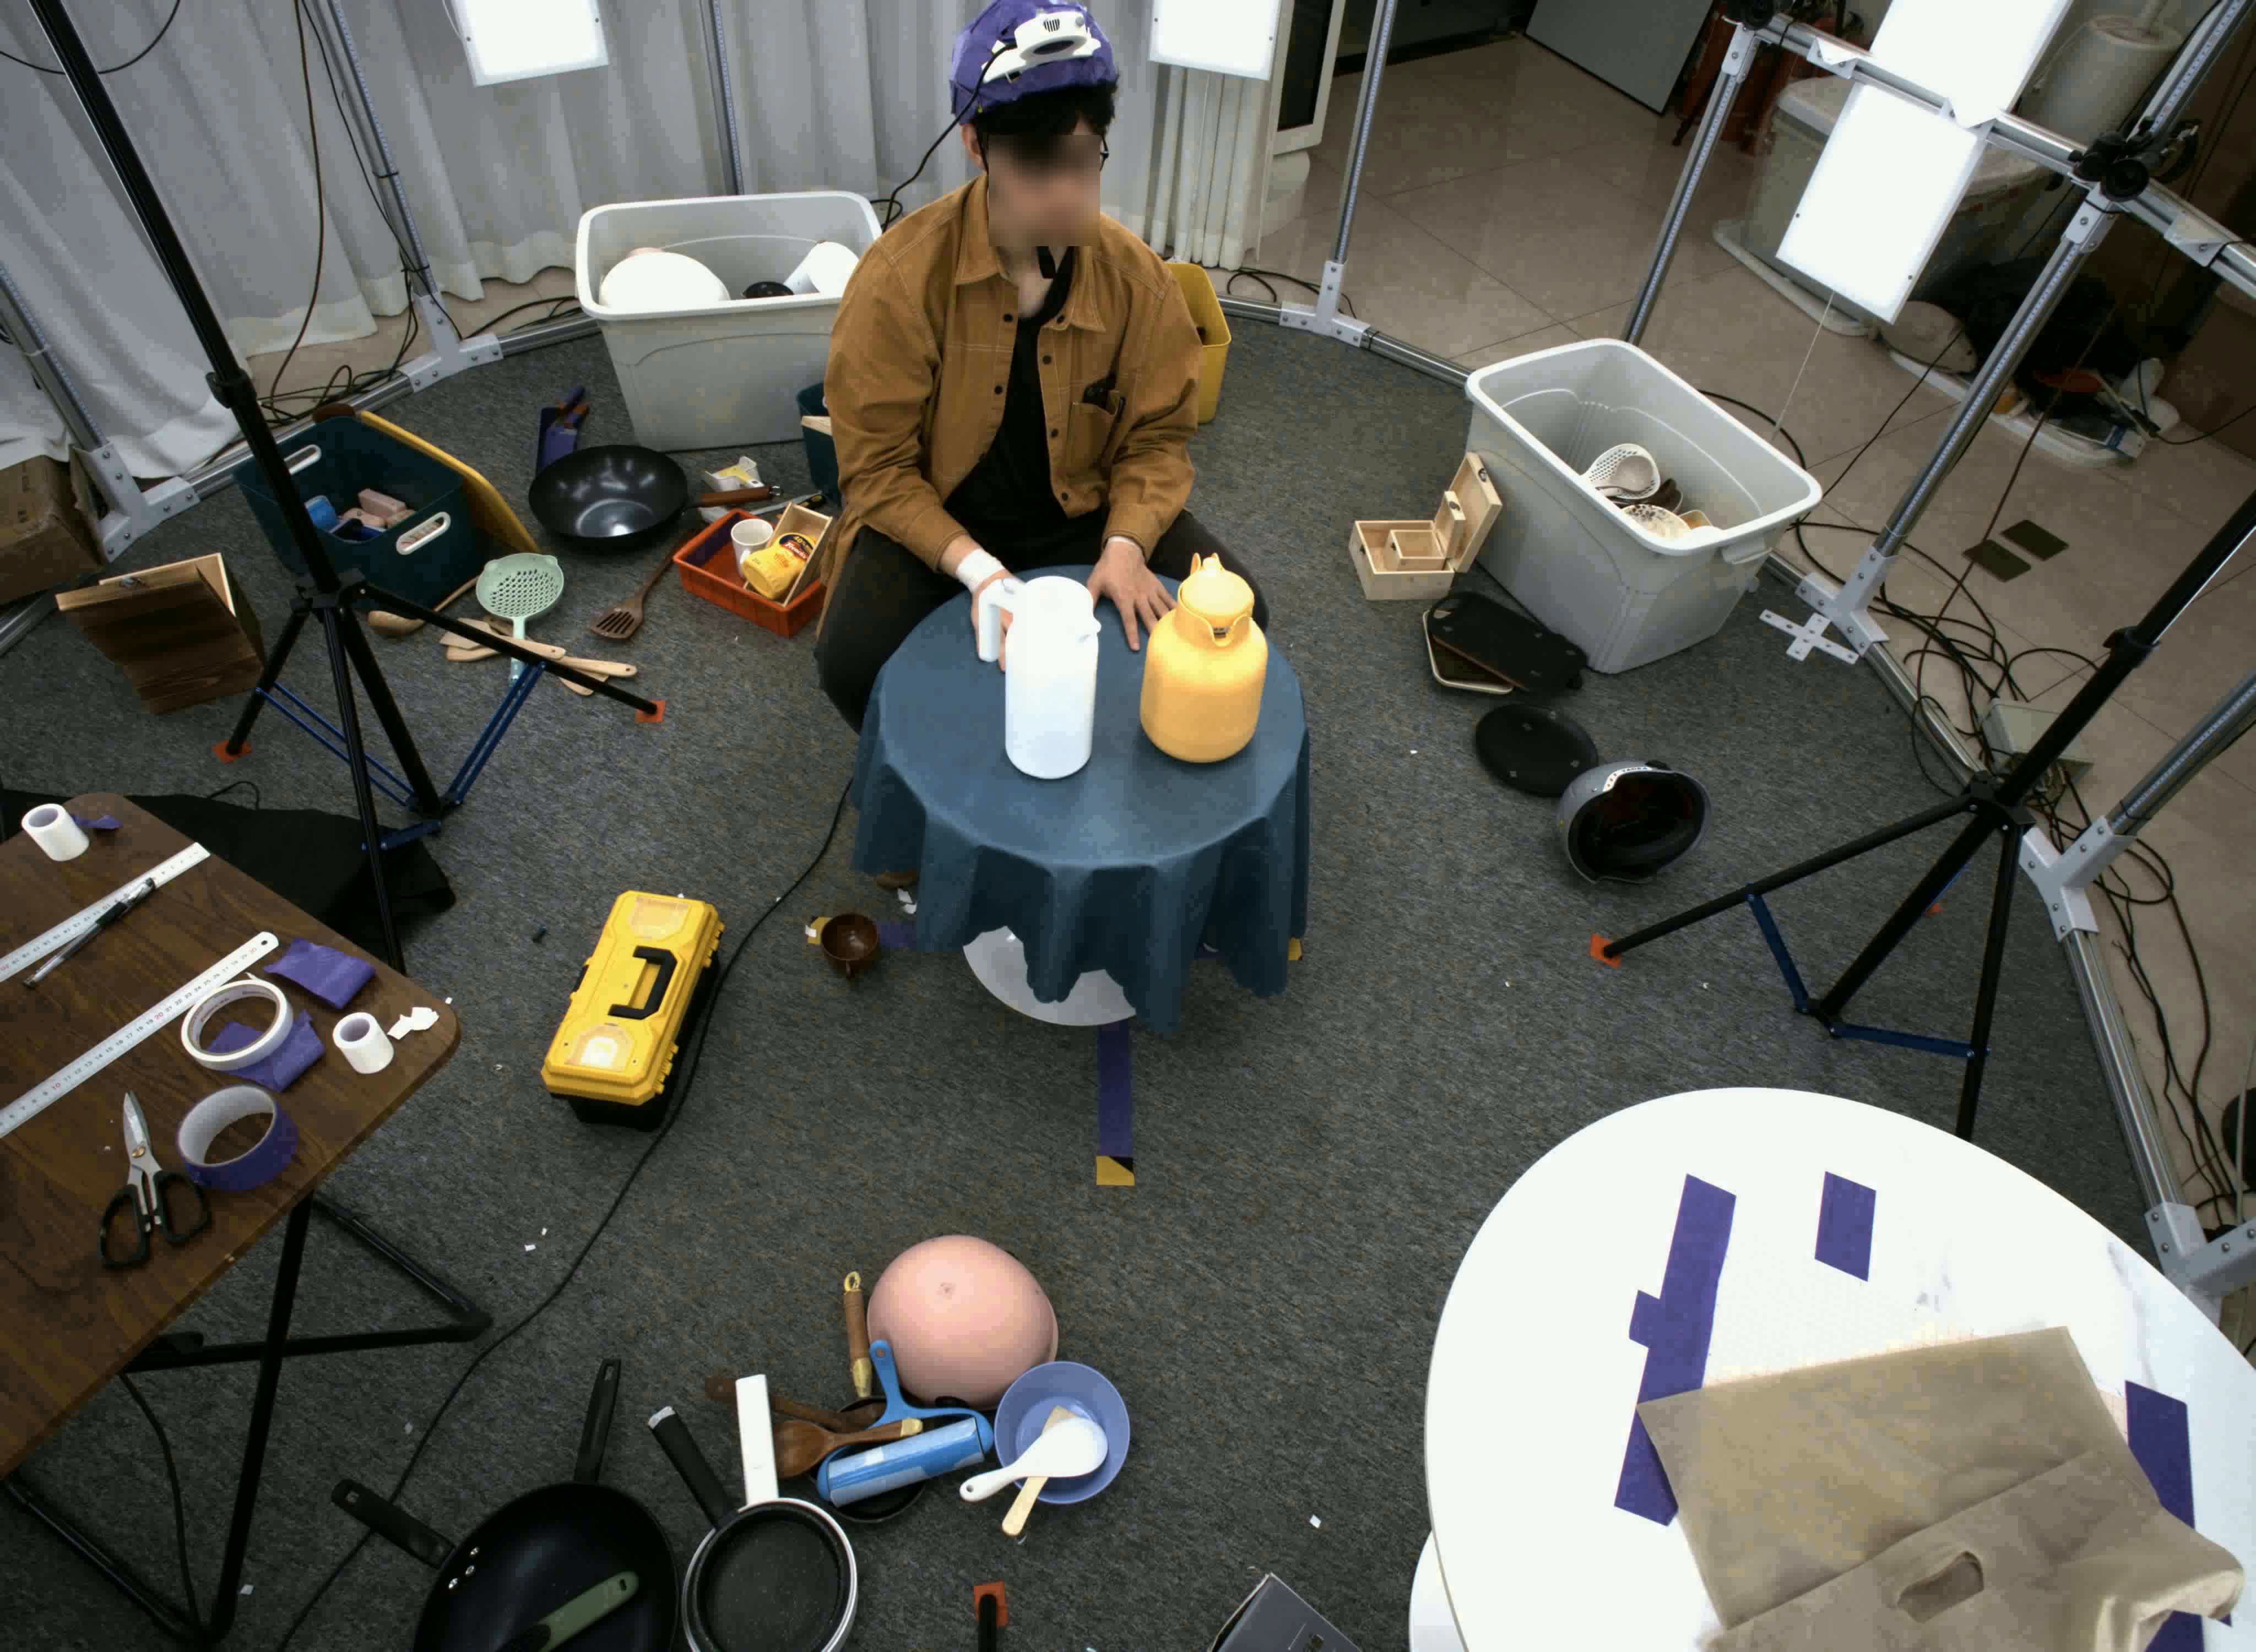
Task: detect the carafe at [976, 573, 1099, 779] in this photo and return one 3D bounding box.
[{"bbox_3d":[-0.117,-0.194,1.659,0.174,0.262,0.126,27,55,18],"label":"carafe"}]

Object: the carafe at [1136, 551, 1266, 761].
[{"bbox_3d":[0.101,-0.233,1.707,0.163,0.254,0.207,3,51,-6],"label":"carafe"}]
